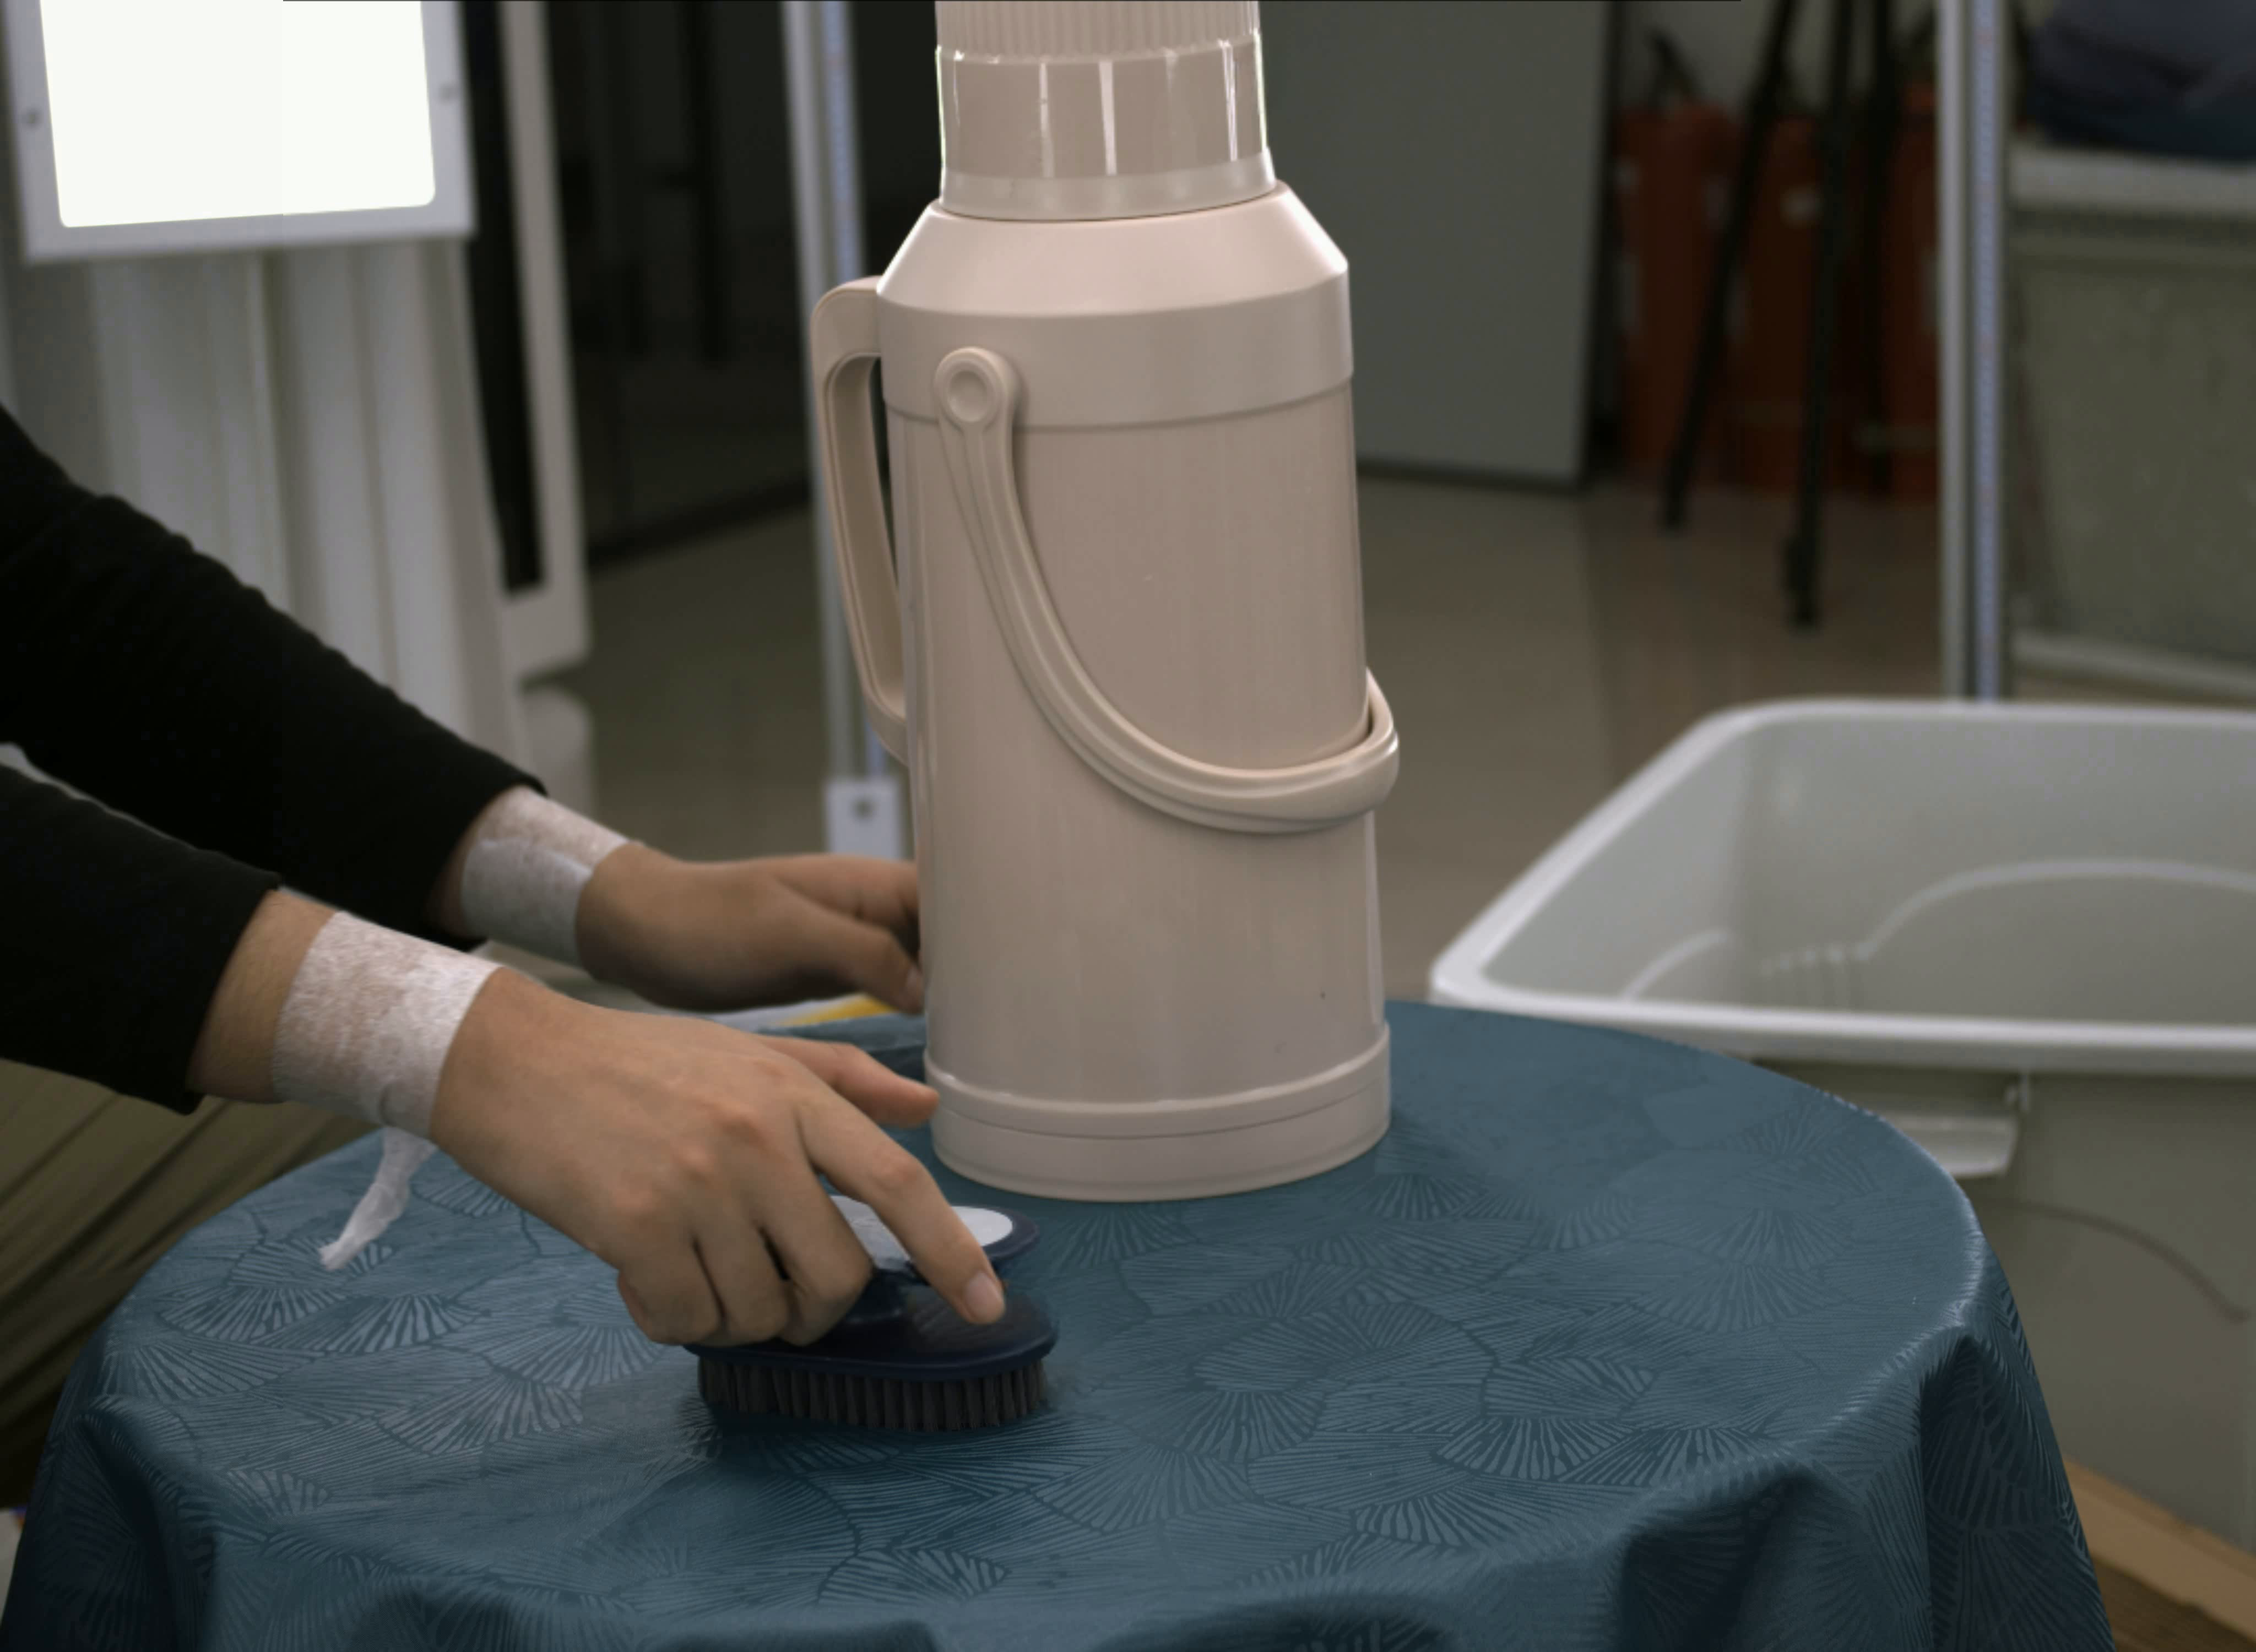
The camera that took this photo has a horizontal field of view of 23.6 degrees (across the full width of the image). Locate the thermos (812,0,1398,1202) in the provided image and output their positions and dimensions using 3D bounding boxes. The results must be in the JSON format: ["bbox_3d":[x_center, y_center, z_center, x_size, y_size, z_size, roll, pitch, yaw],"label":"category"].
[{"bbox_3d":[-0.011,-0.091,1.798,0.208,0.410,0.172,5,17,33],"label":"thermos"}]

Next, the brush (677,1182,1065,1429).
[{"bbox_3d":[-0.076,0.143,1.590,0.122,0.062,0.067,4,15,27],"label":"brush"}]
